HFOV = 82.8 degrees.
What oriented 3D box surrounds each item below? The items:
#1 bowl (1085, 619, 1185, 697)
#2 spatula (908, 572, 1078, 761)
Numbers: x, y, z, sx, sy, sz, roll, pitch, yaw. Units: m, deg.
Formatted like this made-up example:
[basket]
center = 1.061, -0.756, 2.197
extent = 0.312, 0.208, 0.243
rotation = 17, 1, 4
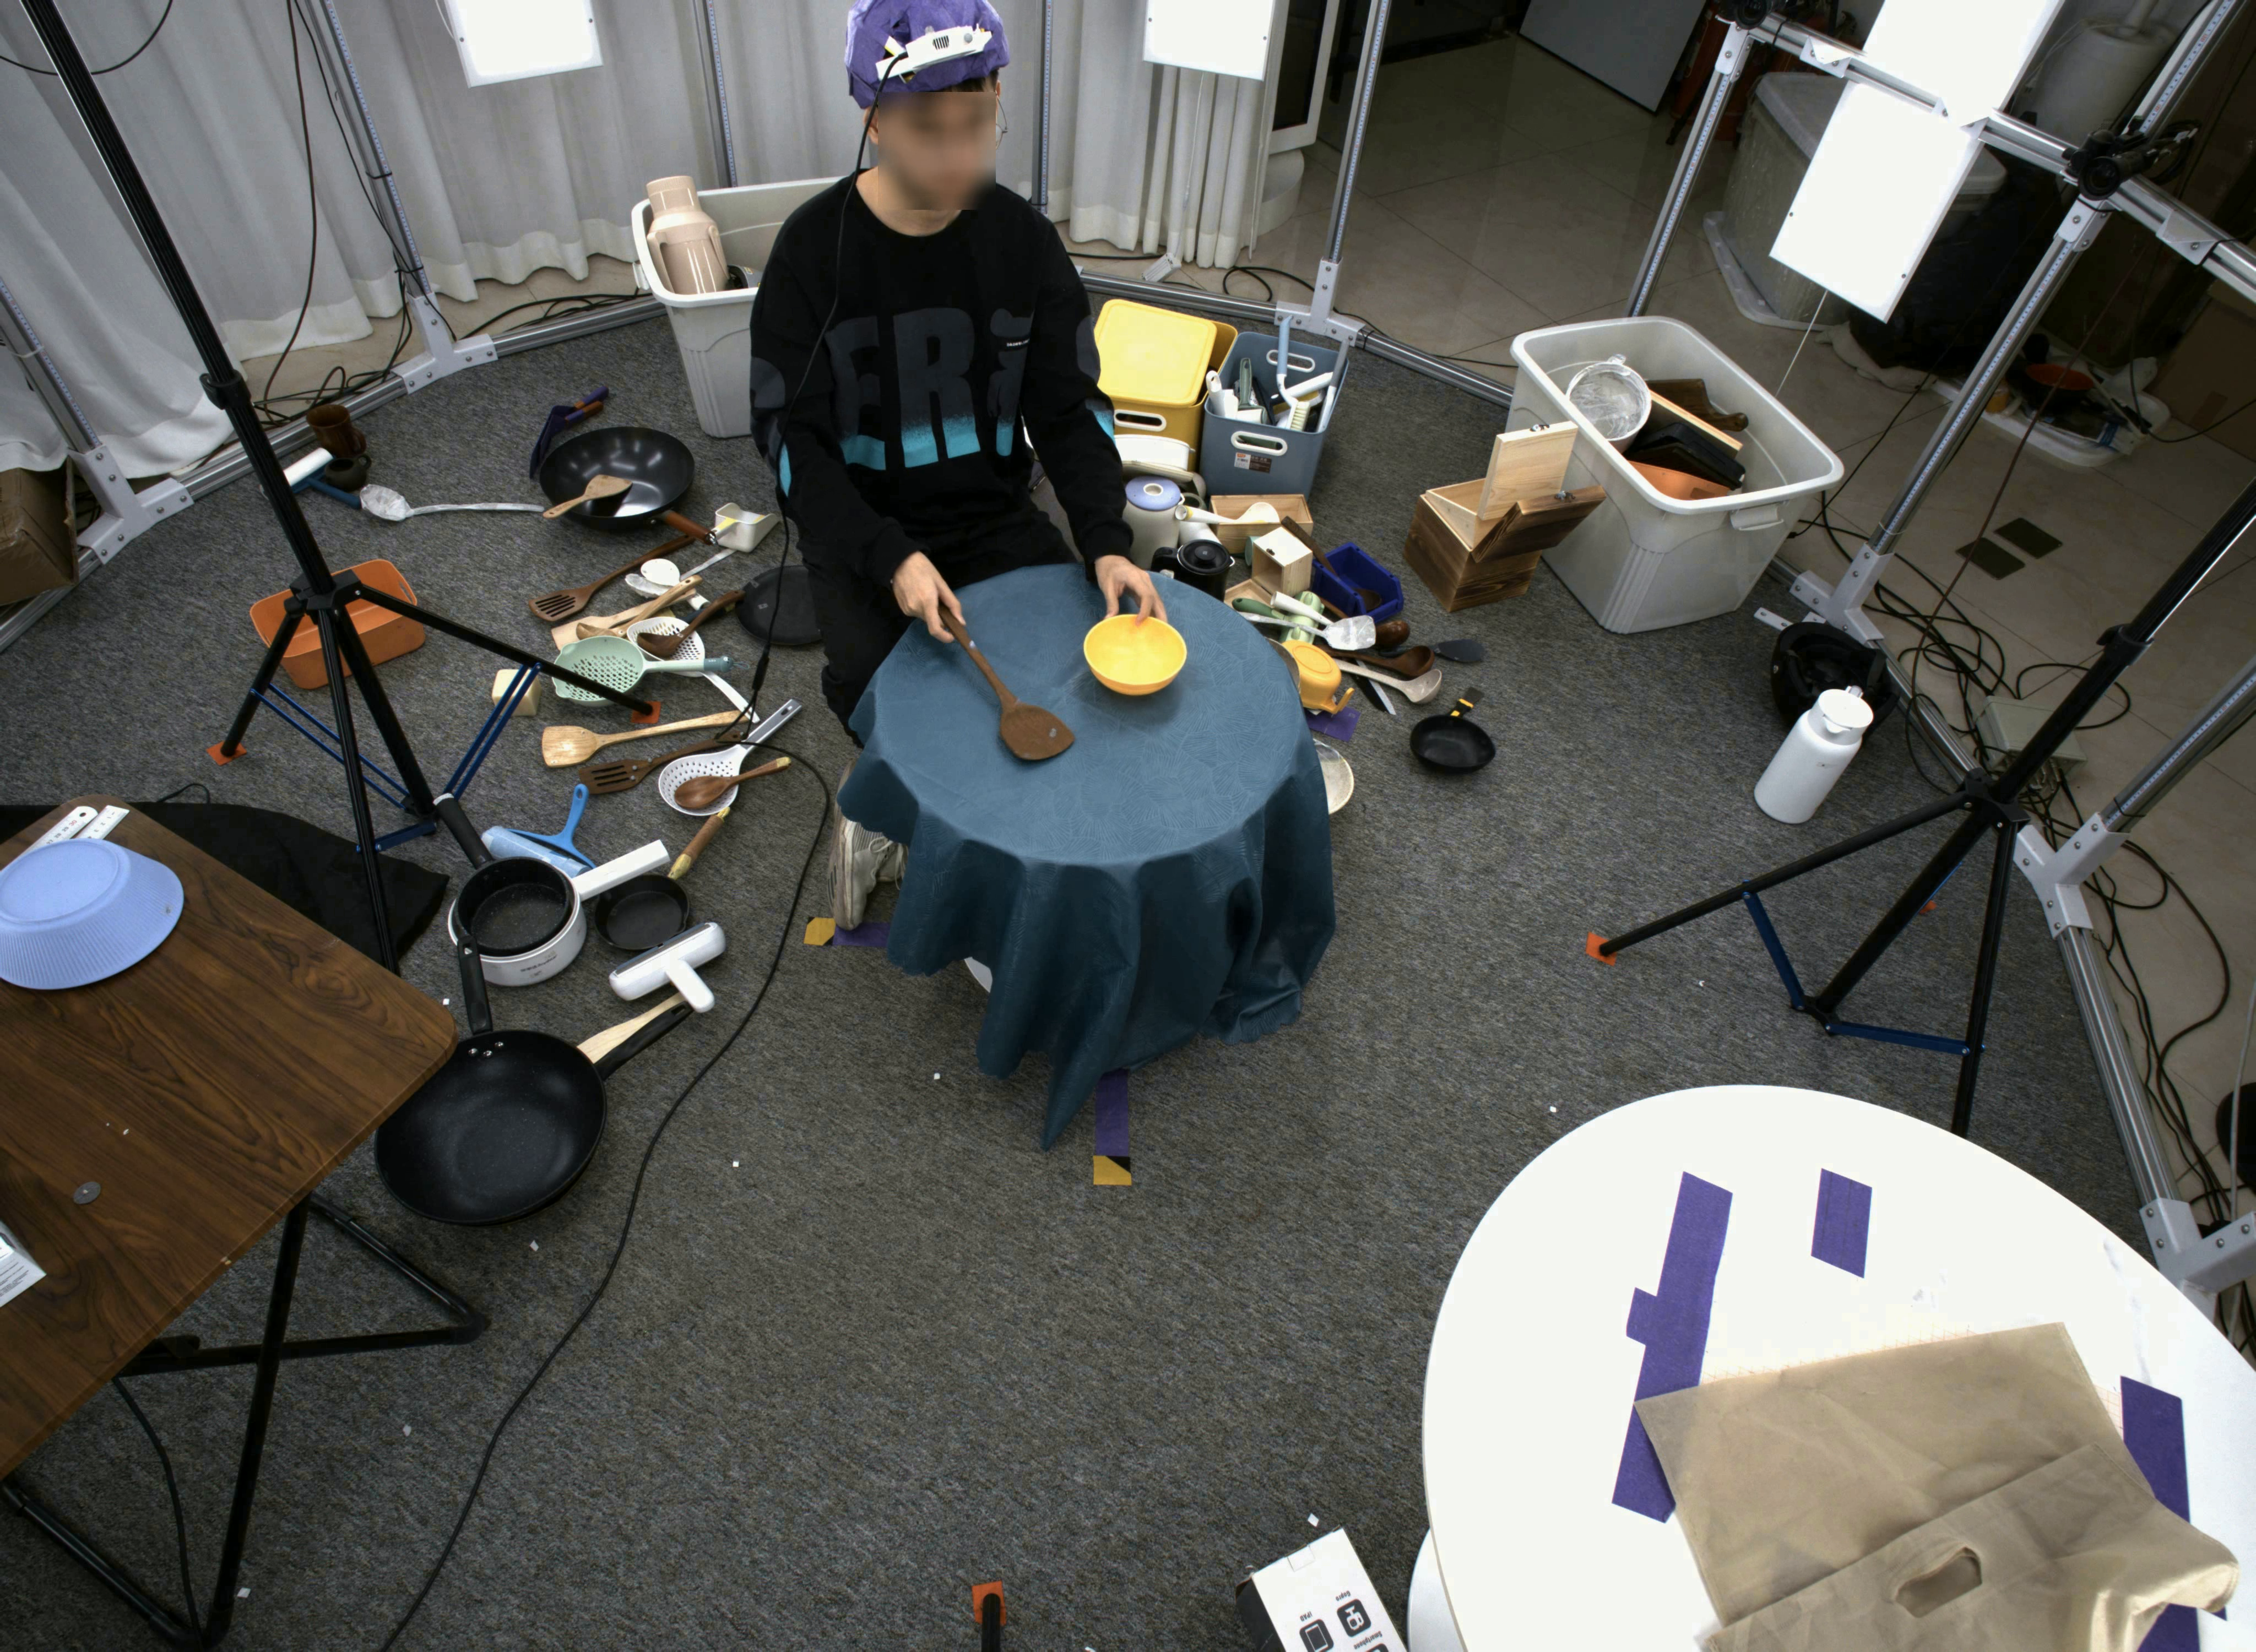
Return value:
[bowl]
center = 0.008, -0.230, 1.850
extent = 0.145, 0.058, 0.149
rotation = 3, 47, -3
[spatula]
center = -0.208, -0.236, 1.833
extent = 0.096, 0.015, 0.392
rotation = -23, 62, -32
